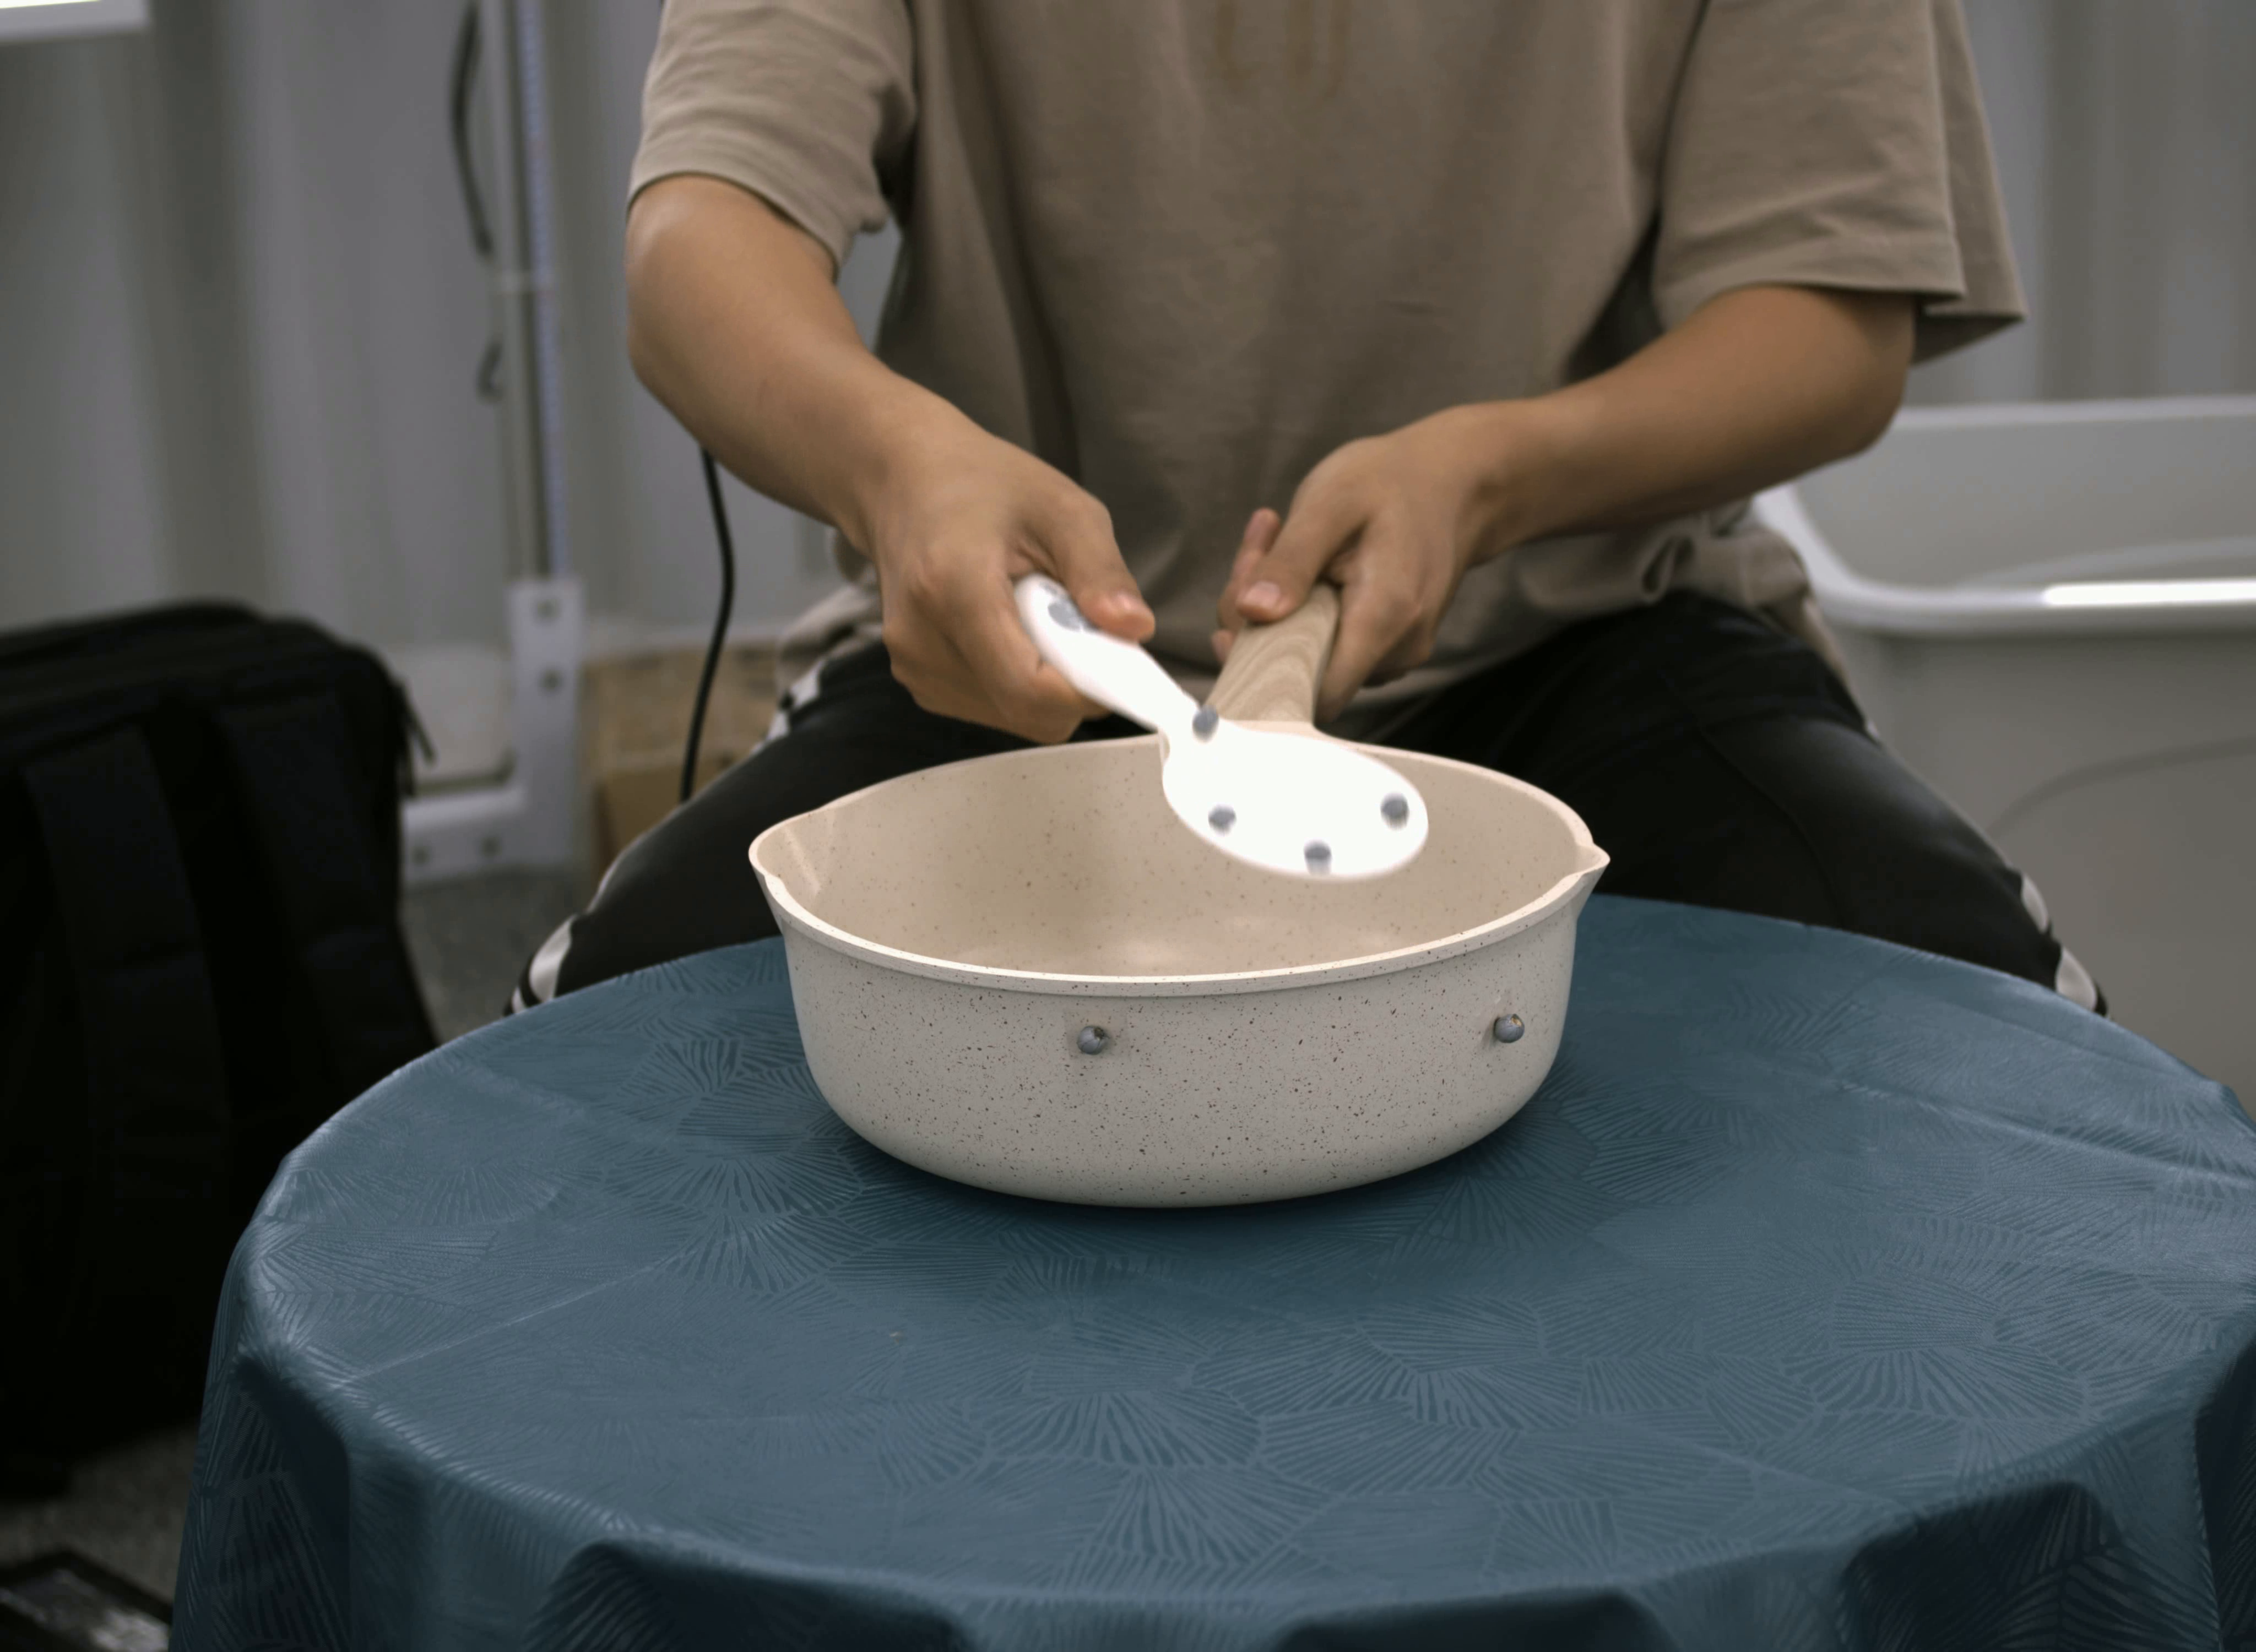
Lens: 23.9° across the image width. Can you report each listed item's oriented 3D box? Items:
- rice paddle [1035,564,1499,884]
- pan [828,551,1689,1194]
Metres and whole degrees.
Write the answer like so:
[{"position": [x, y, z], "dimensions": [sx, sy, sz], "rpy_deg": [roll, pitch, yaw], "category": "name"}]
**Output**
[{"position": [0.039, -0.029, 1.590], "dimensions": [0.067, 0.029, 0.210], "rpy_deg": [-18, 32, -26], "category": "rice paddle"}, {"position": [0.056, 0.011, 1.700], "dimensions": [0.264, 0.102, 0.433], "rpy_deg": [-1, 16, 11], "category": "pan"}]
